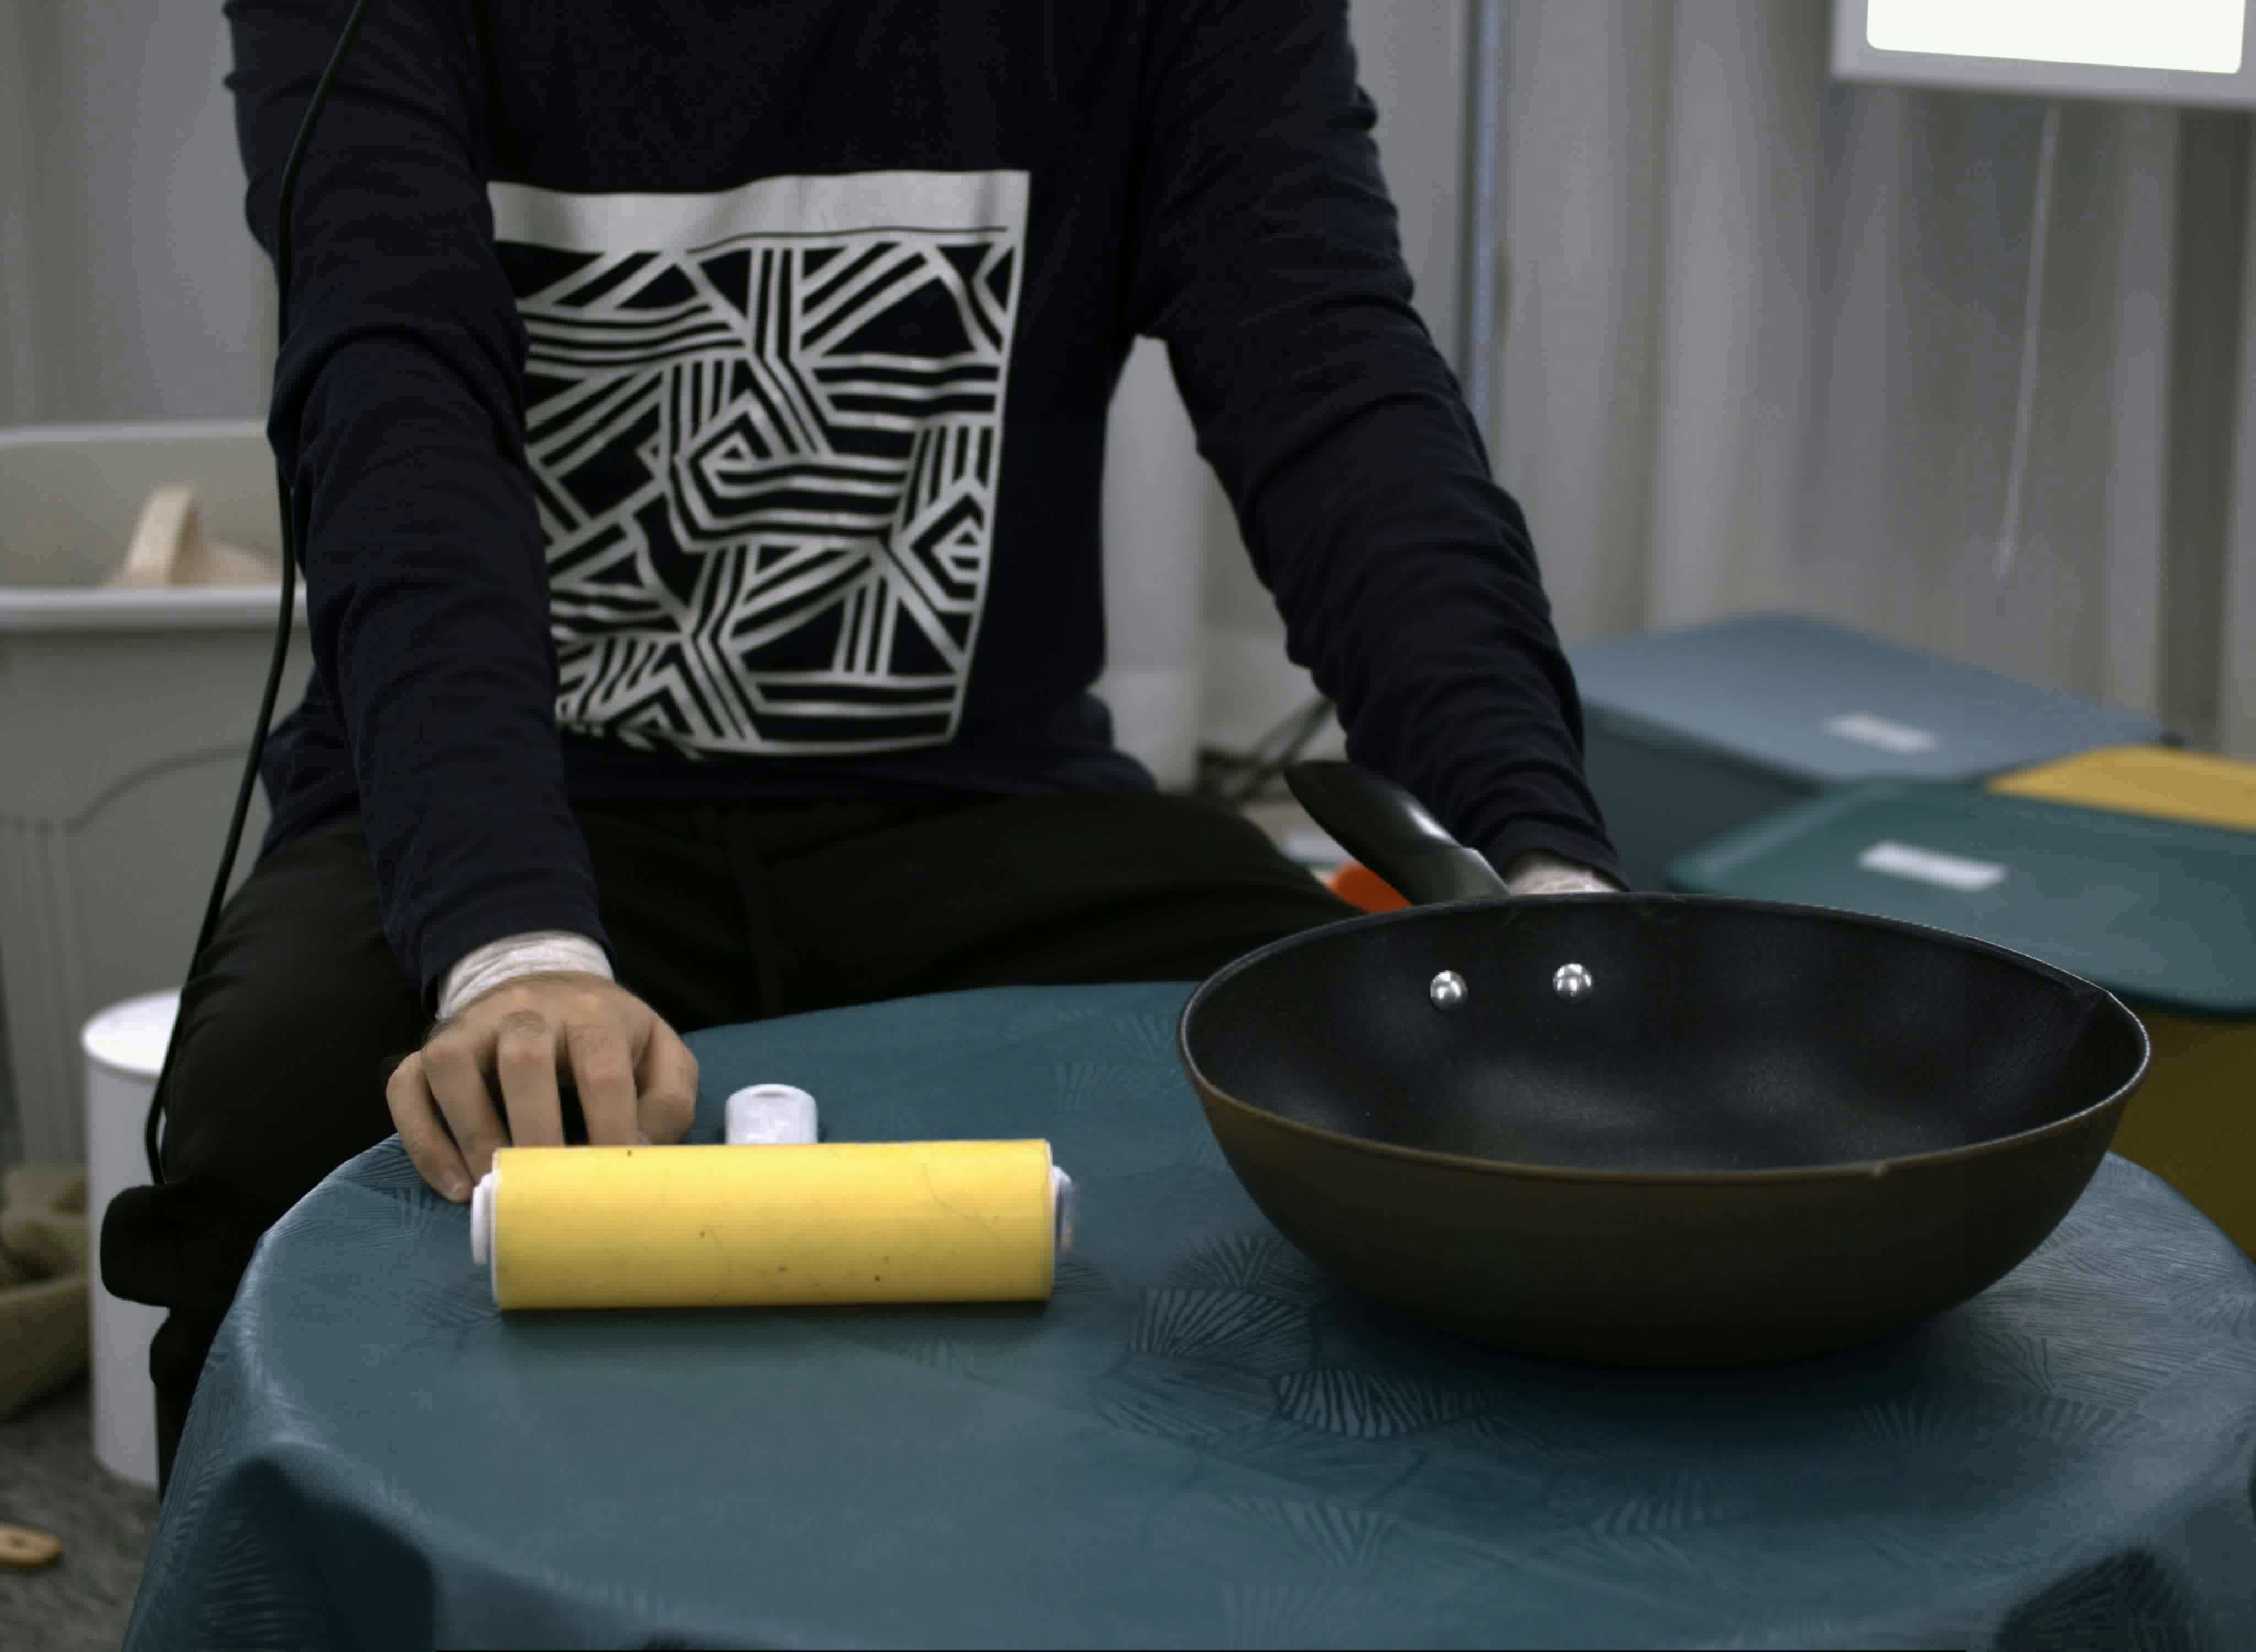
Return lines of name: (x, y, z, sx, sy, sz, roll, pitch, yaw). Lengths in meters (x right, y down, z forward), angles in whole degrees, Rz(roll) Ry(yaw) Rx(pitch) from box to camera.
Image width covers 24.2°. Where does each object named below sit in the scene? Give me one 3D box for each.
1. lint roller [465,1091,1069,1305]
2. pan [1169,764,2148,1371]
lint roller: (-0.110, 0.096, 1.588, 0.174, 0.052, 0.190, 0, 17, -6)
pan: (0.127, 0.072, 1.622, 0.288, 0.087, 0.458, -3, 15, -16)
